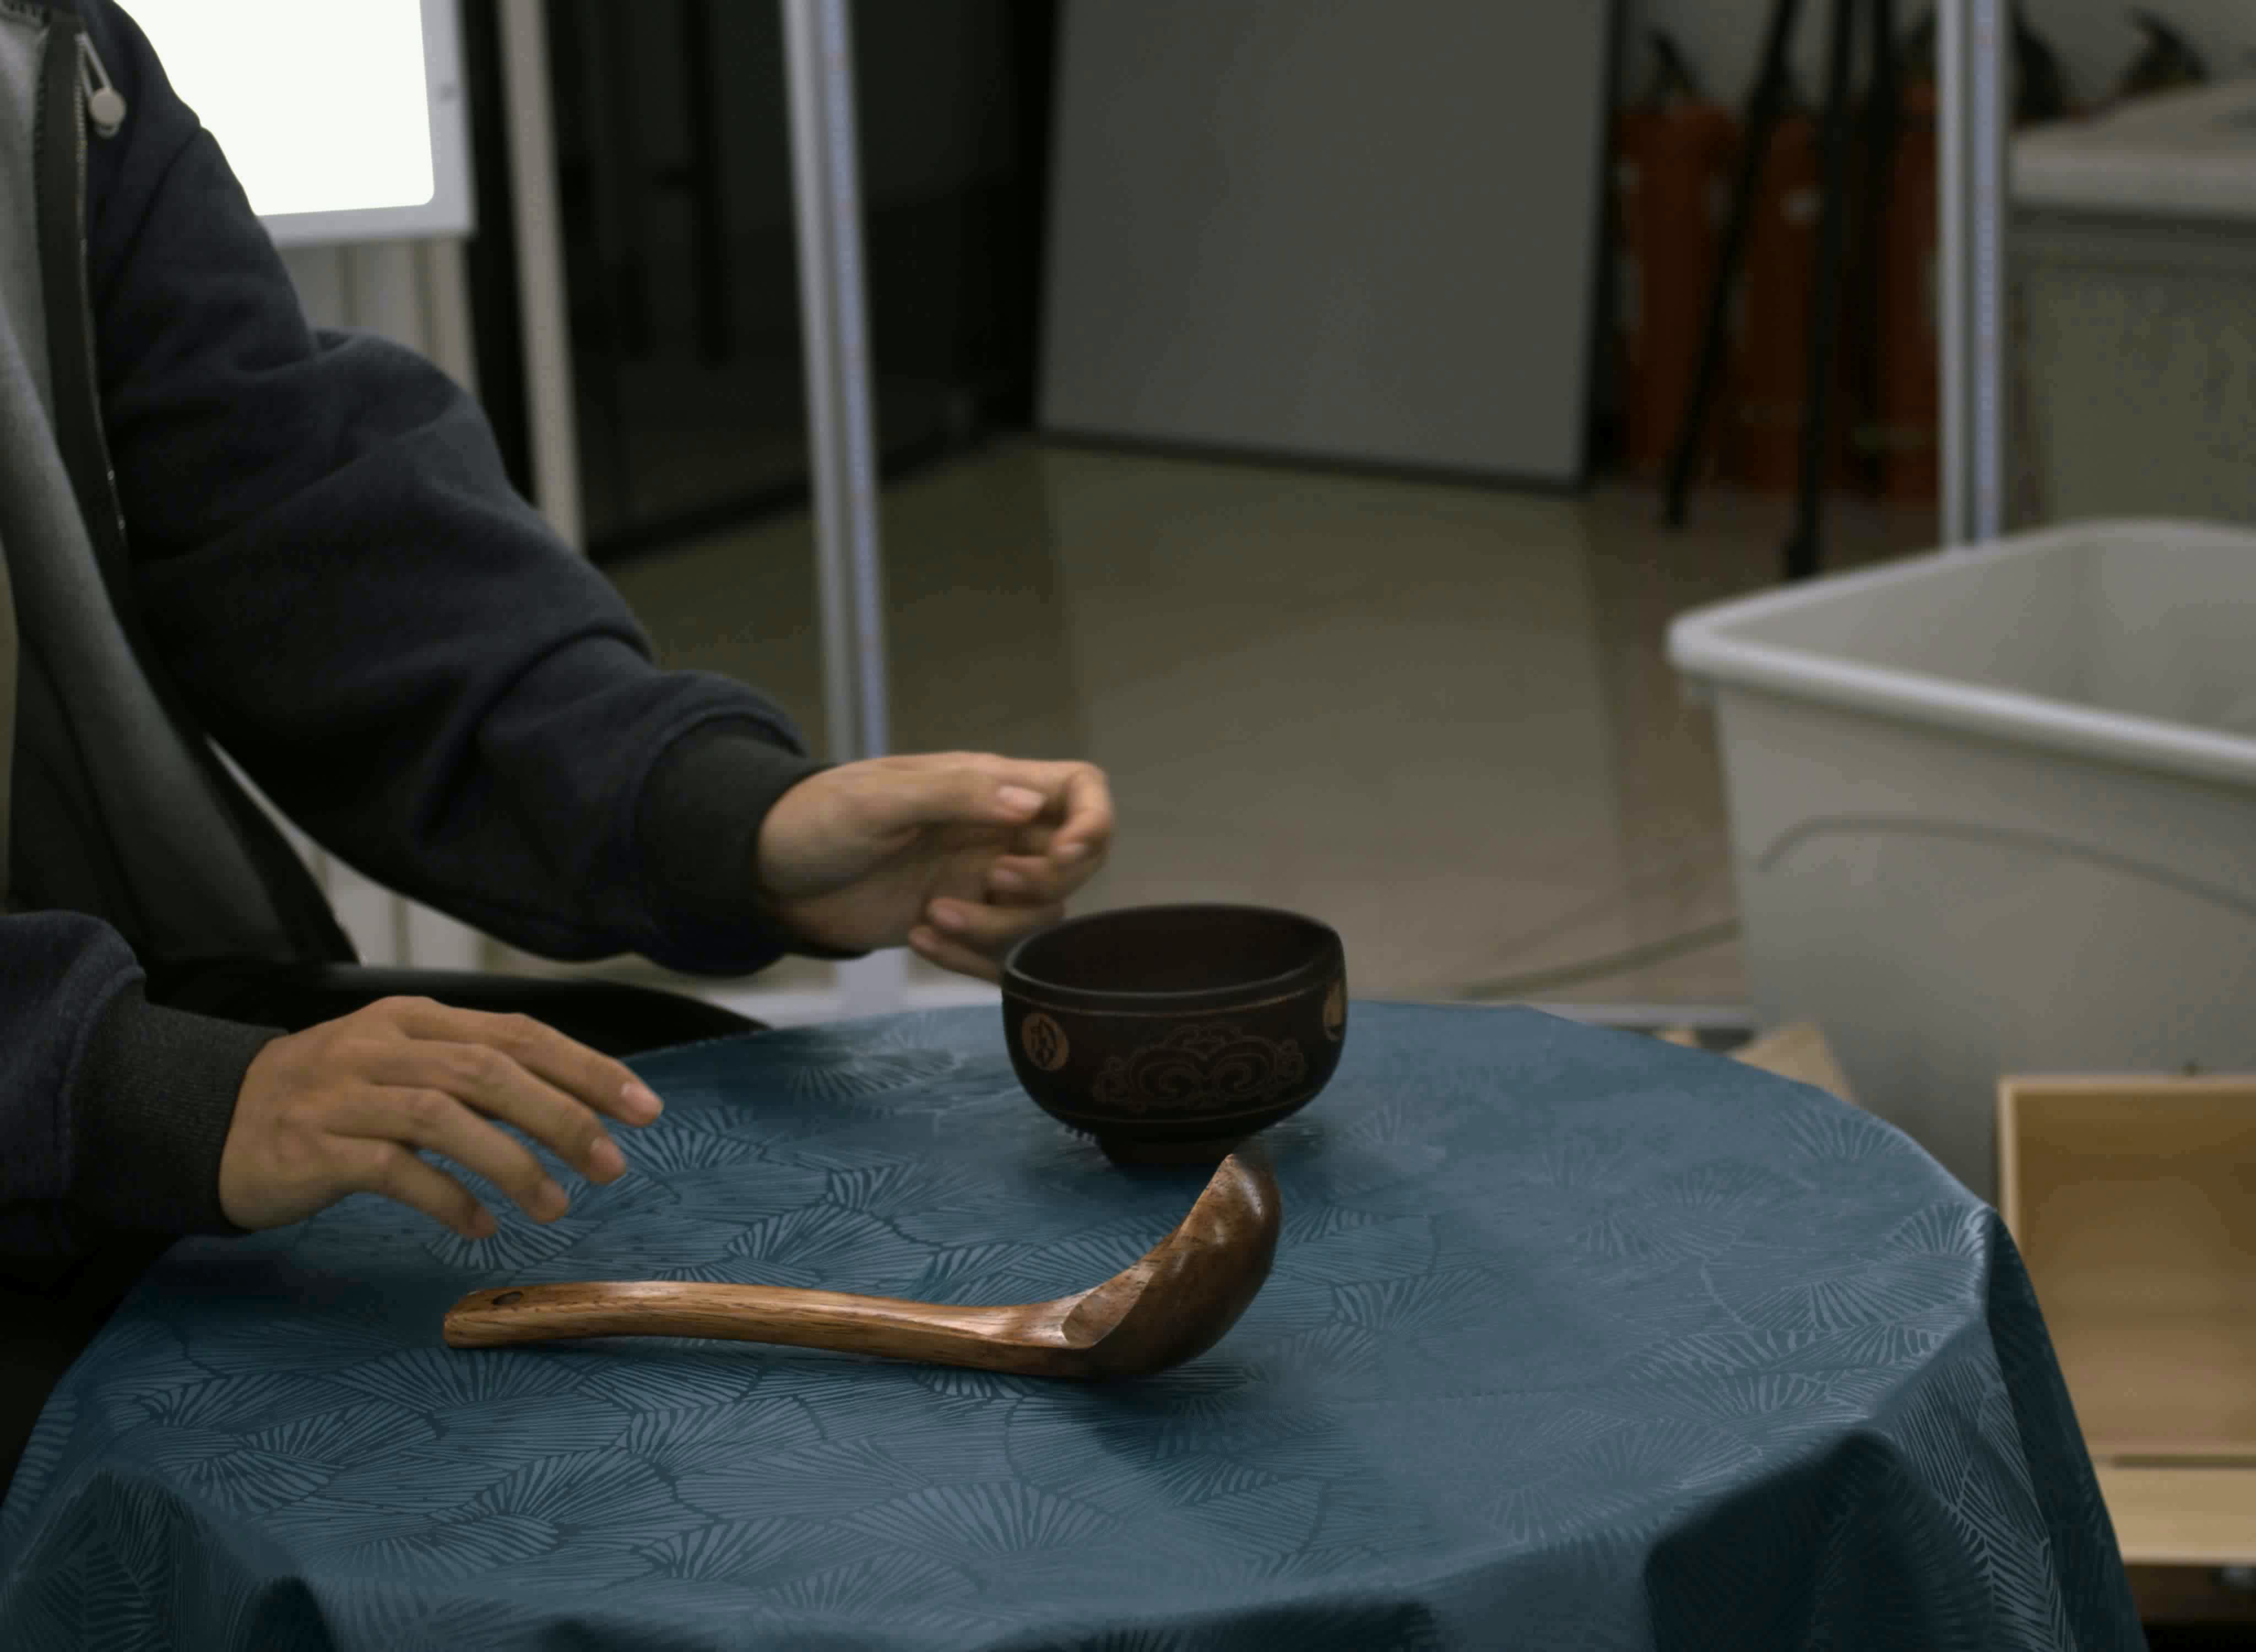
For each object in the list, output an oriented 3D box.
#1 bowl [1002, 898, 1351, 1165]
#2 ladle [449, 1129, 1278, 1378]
[{"bbox_3d":[0.017,0.072,1.808,0.116,0.070,0.118,-4,13,0],"label":"bowl"},{"bbox_3d":[-0.085,0.124,1.615,0.274,0.077,0.081,2,19,21],"label":"ladle"}]
